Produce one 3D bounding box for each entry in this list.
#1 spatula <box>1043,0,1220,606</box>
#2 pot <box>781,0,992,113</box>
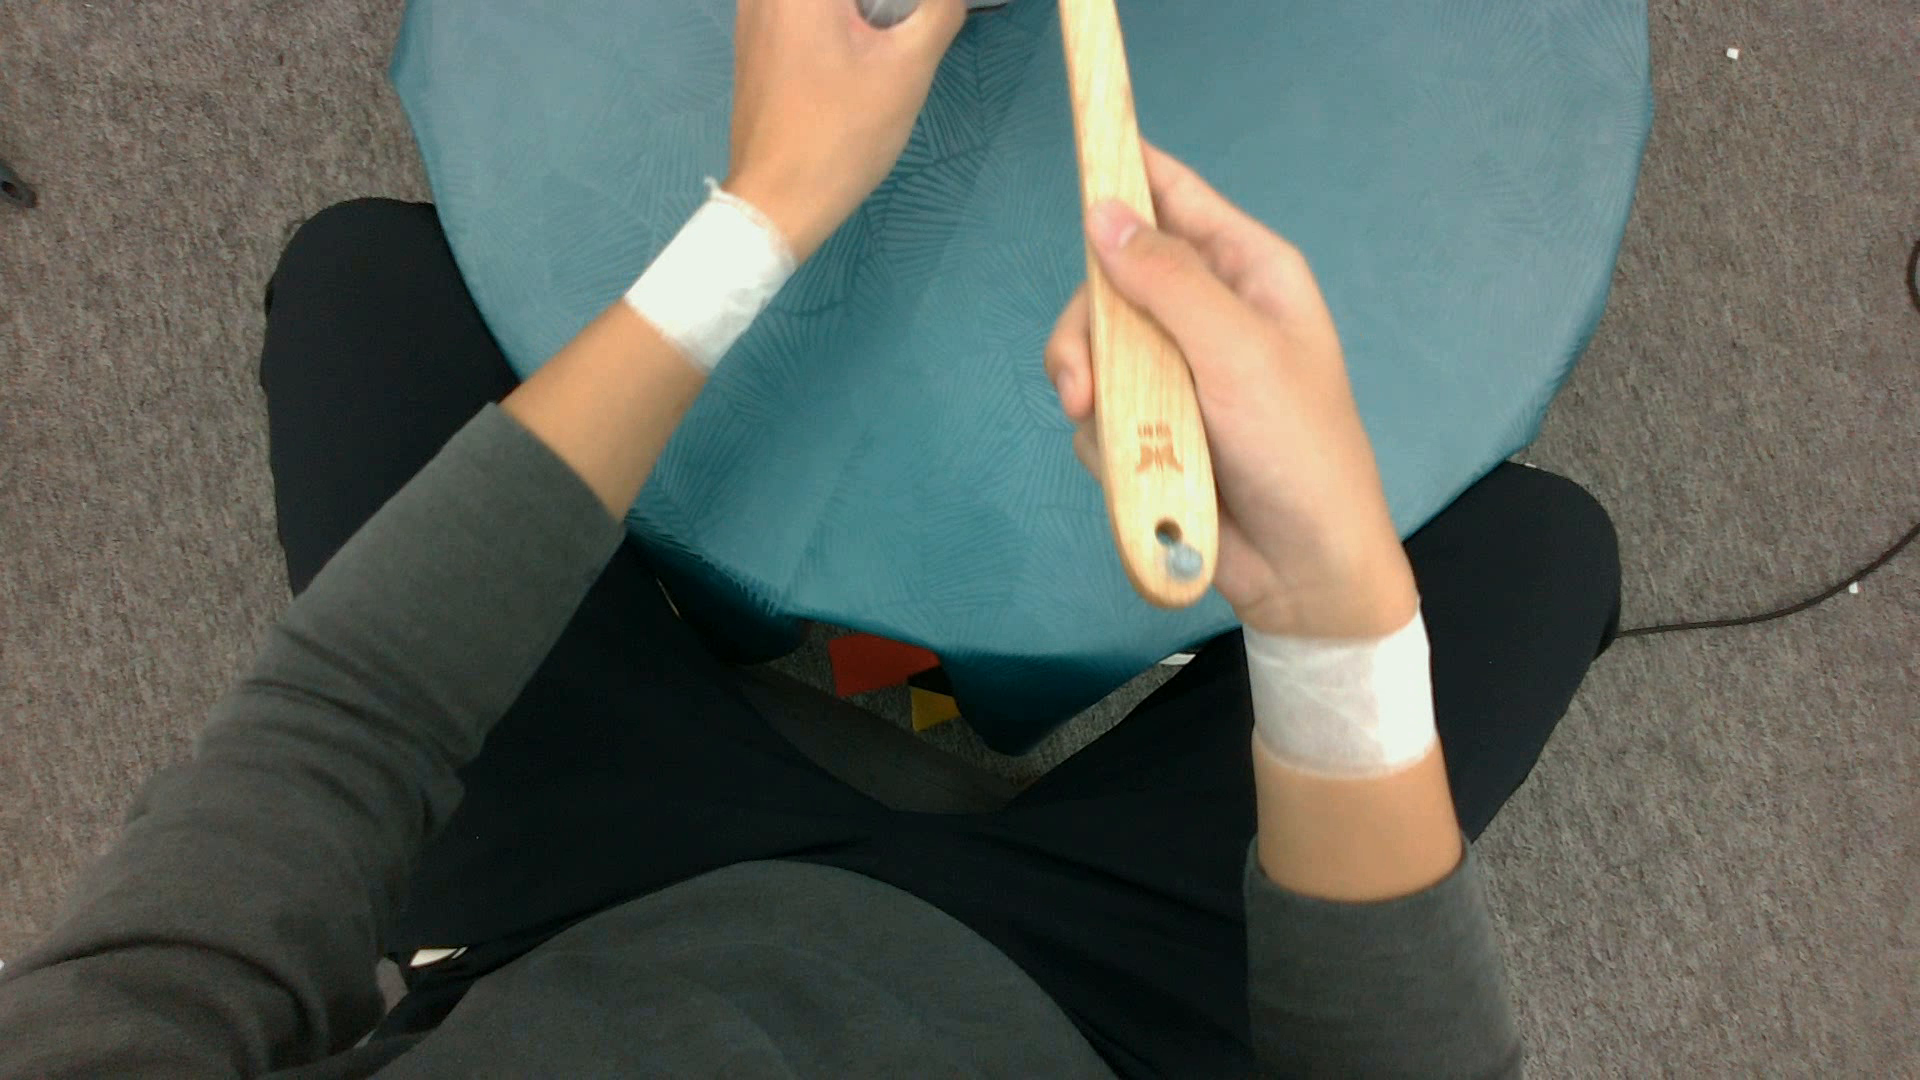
[{"bbox_3d":[0.043,-0.158,0.453,0.096,0.018,0.392,-3,62,-8],"label":"spatula"},{"bbox_3d":[-0.013,-0.293,0.554,0.179,0.136,0.234,19,87,-12],"label":"pot"}]
